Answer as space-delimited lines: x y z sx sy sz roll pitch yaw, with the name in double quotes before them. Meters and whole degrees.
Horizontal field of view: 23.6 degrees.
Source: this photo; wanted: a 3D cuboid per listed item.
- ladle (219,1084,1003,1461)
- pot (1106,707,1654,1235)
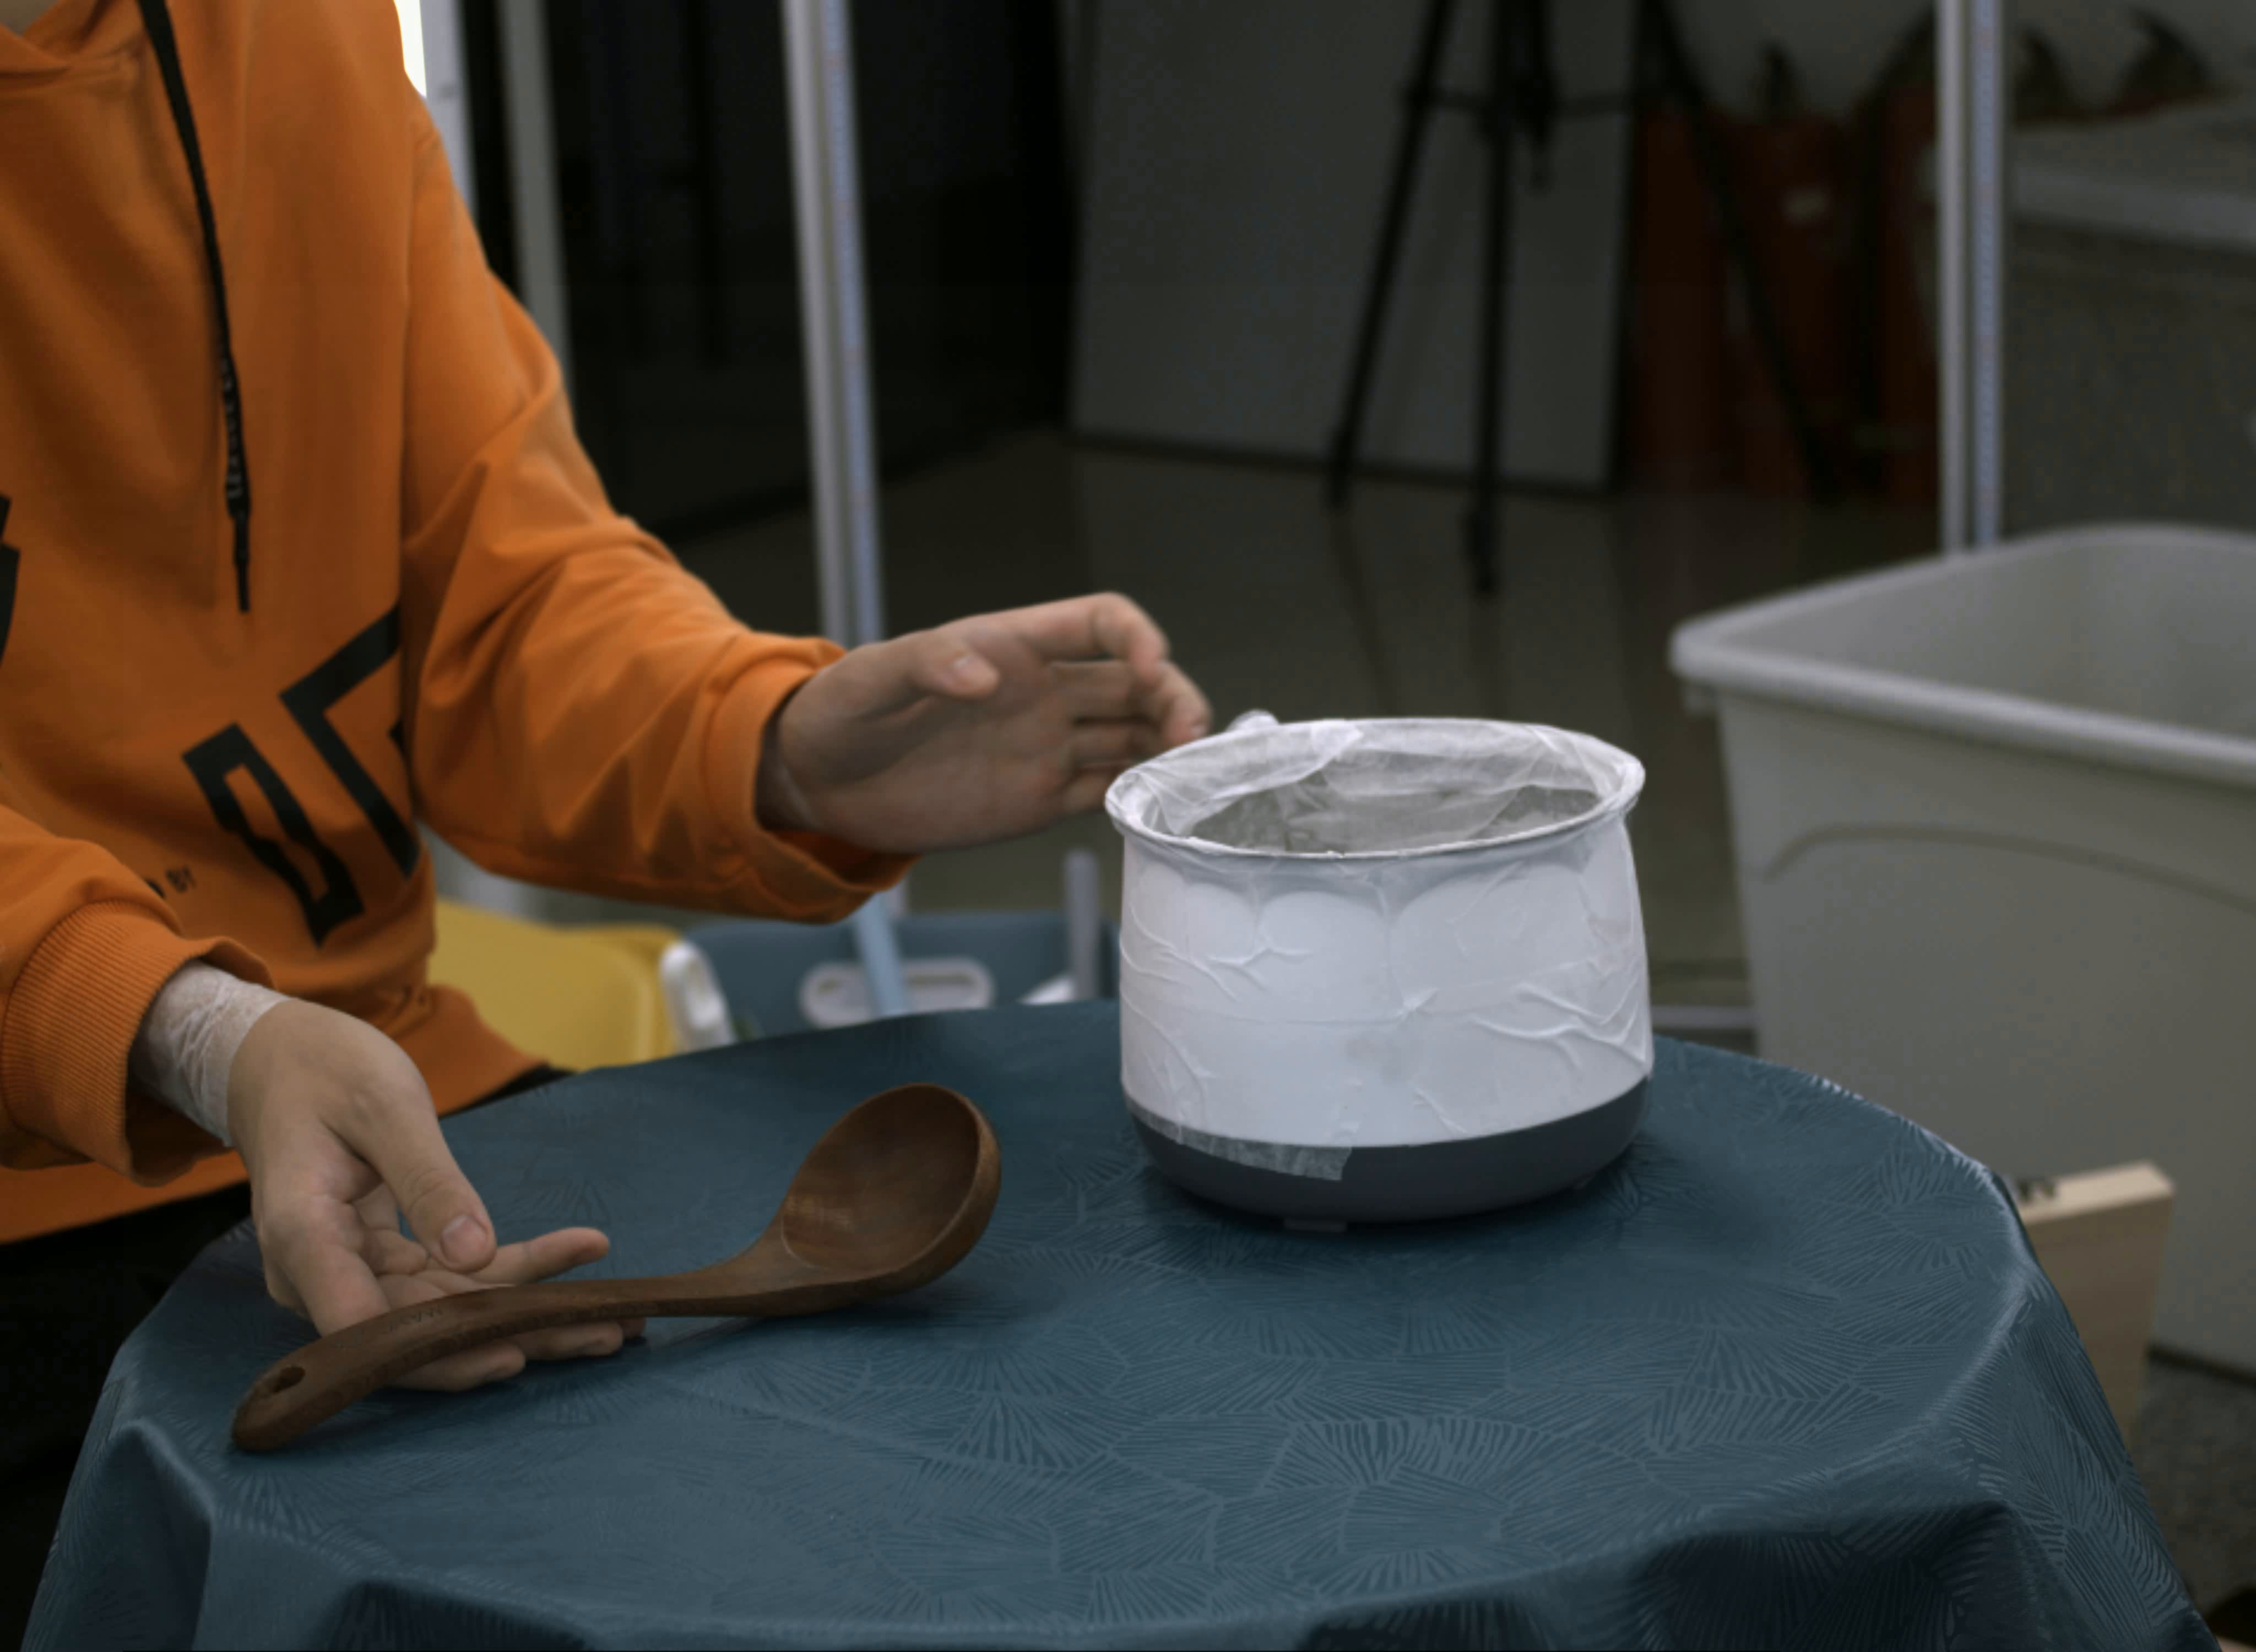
"ladle" -0.154 0.133 1.634 0.254 0.066 0.077 -11 21 -29
"pot" 0.072 0.041 1.786 0.175 0.138 0.236 -9 14 -21
